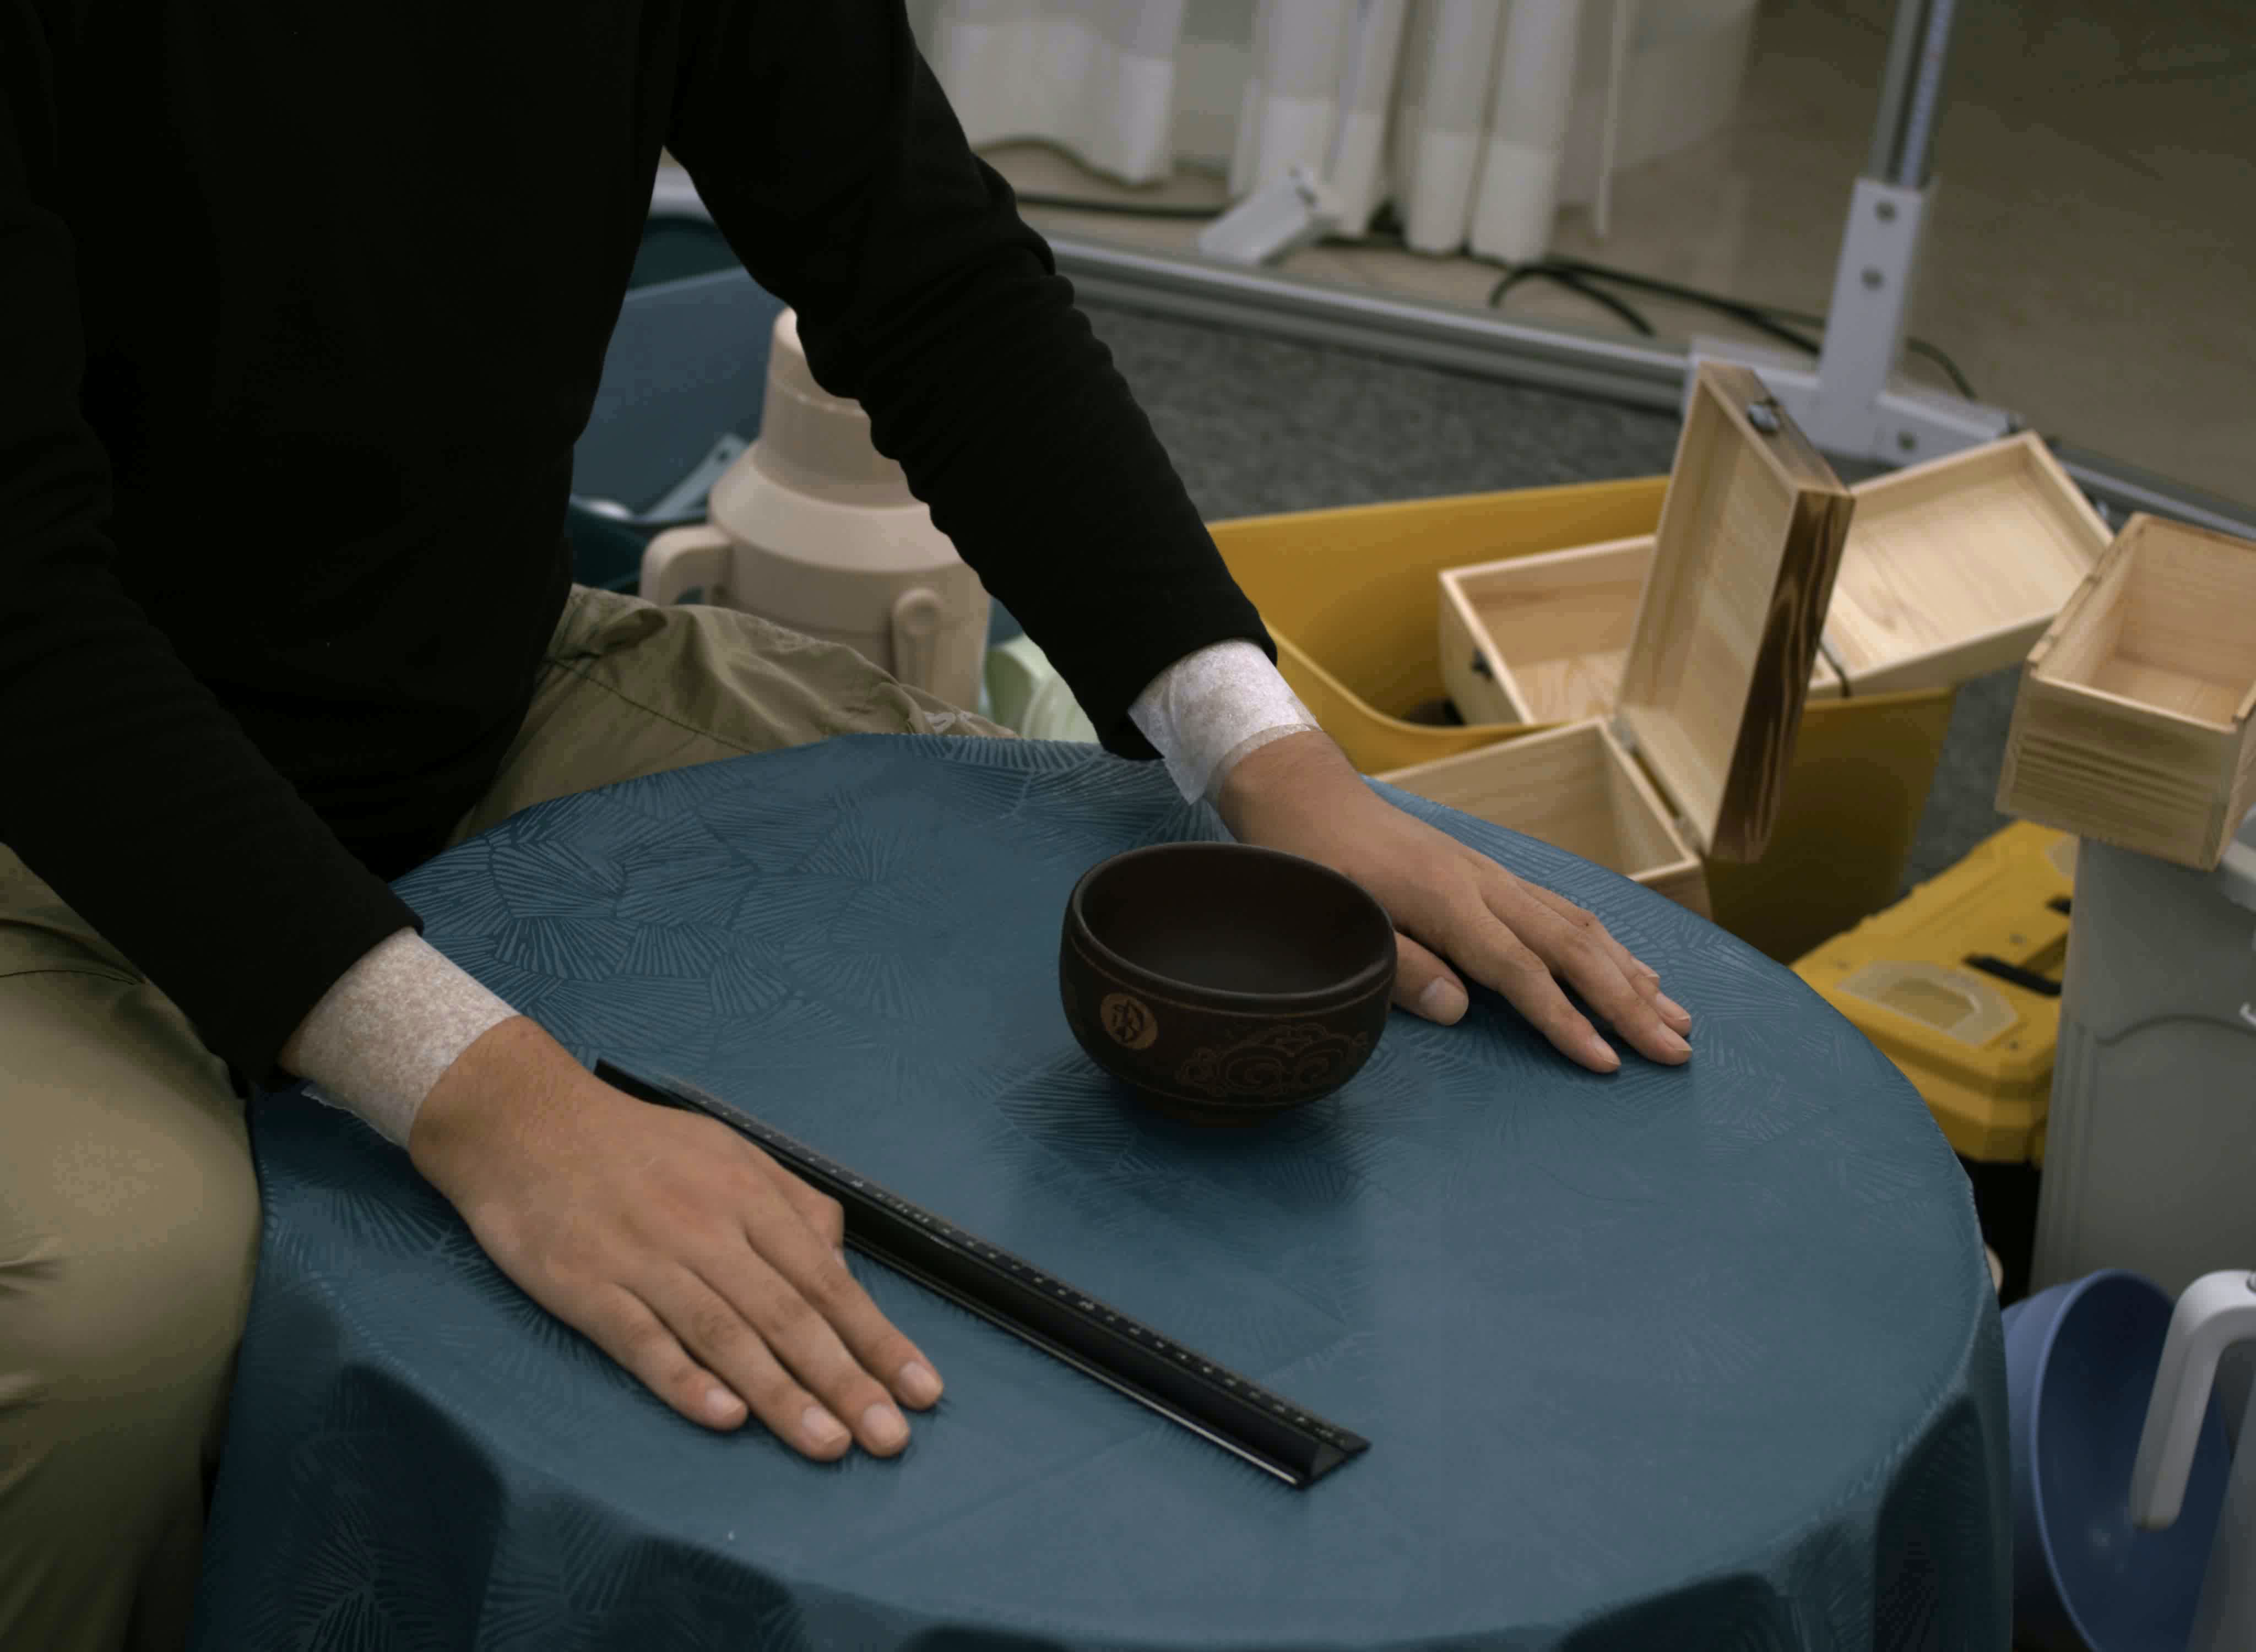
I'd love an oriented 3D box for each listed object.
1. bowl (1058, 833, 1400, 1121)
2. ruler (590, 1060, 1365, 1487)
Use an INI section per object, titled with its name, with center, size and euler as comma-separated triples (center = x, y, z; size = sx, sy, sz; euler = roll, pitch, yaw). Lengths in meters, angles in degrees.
[bowl]
center = 0.033, 0.059, 1.855
size = 0.117, 0.069, 0.119
euler = 6, 27, -3
[ruler]
center = -0.053, 0.139, 1.744
size = 0.314, 0.017, 0.039
euler = 25, 28, 33
